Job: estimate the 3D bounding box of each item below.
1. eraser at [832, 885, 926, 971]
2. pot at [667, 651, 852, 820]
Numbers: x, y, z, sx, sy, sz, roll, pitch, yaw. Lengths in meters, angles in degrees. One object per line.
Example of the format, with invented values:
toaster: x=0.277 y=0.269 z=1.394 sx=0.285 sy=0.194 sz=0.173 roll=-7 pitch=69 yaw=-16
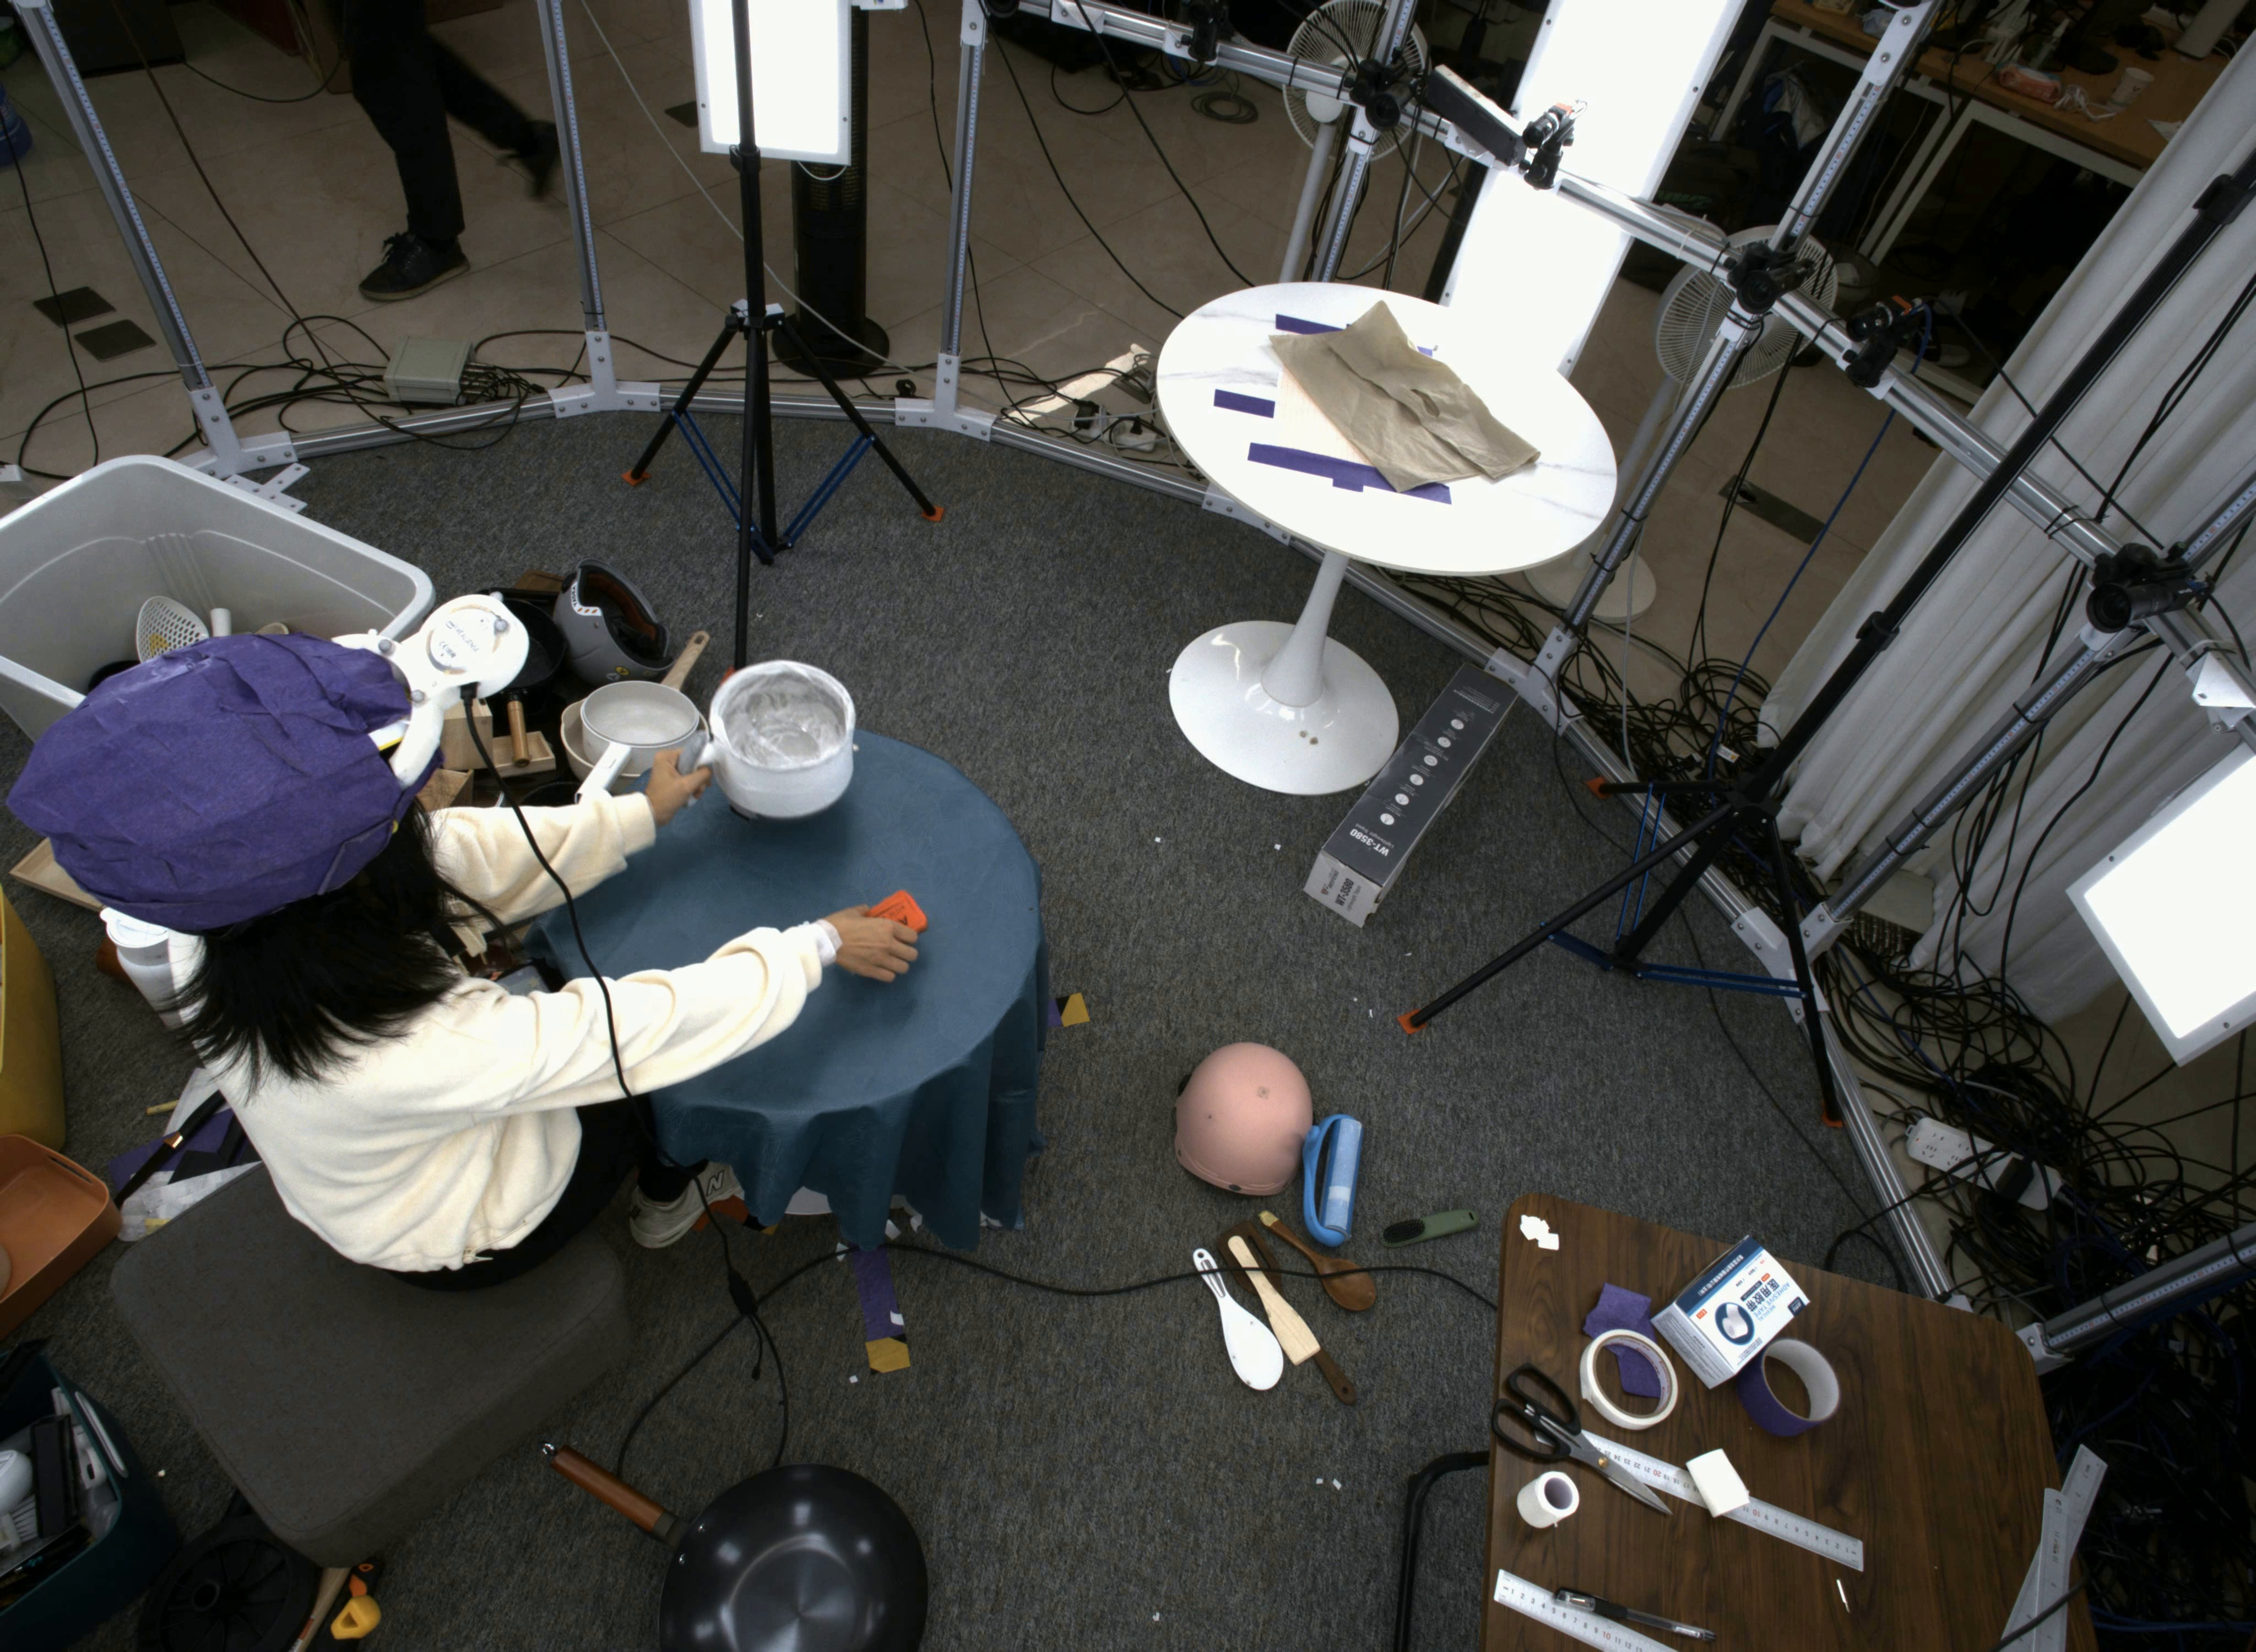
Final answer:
eraser: x=-0.305 y=0.123 z=1.593 sx=0.108 sy=0.023 sz=0.058 roll=-35 pitch=77 yaw=-17
pot: x=-0.463 y=-0.101 z=1.619 sx=0.235 sy=0.139 sz=0.174 roll=-21 pitch=61 yaw=-29
